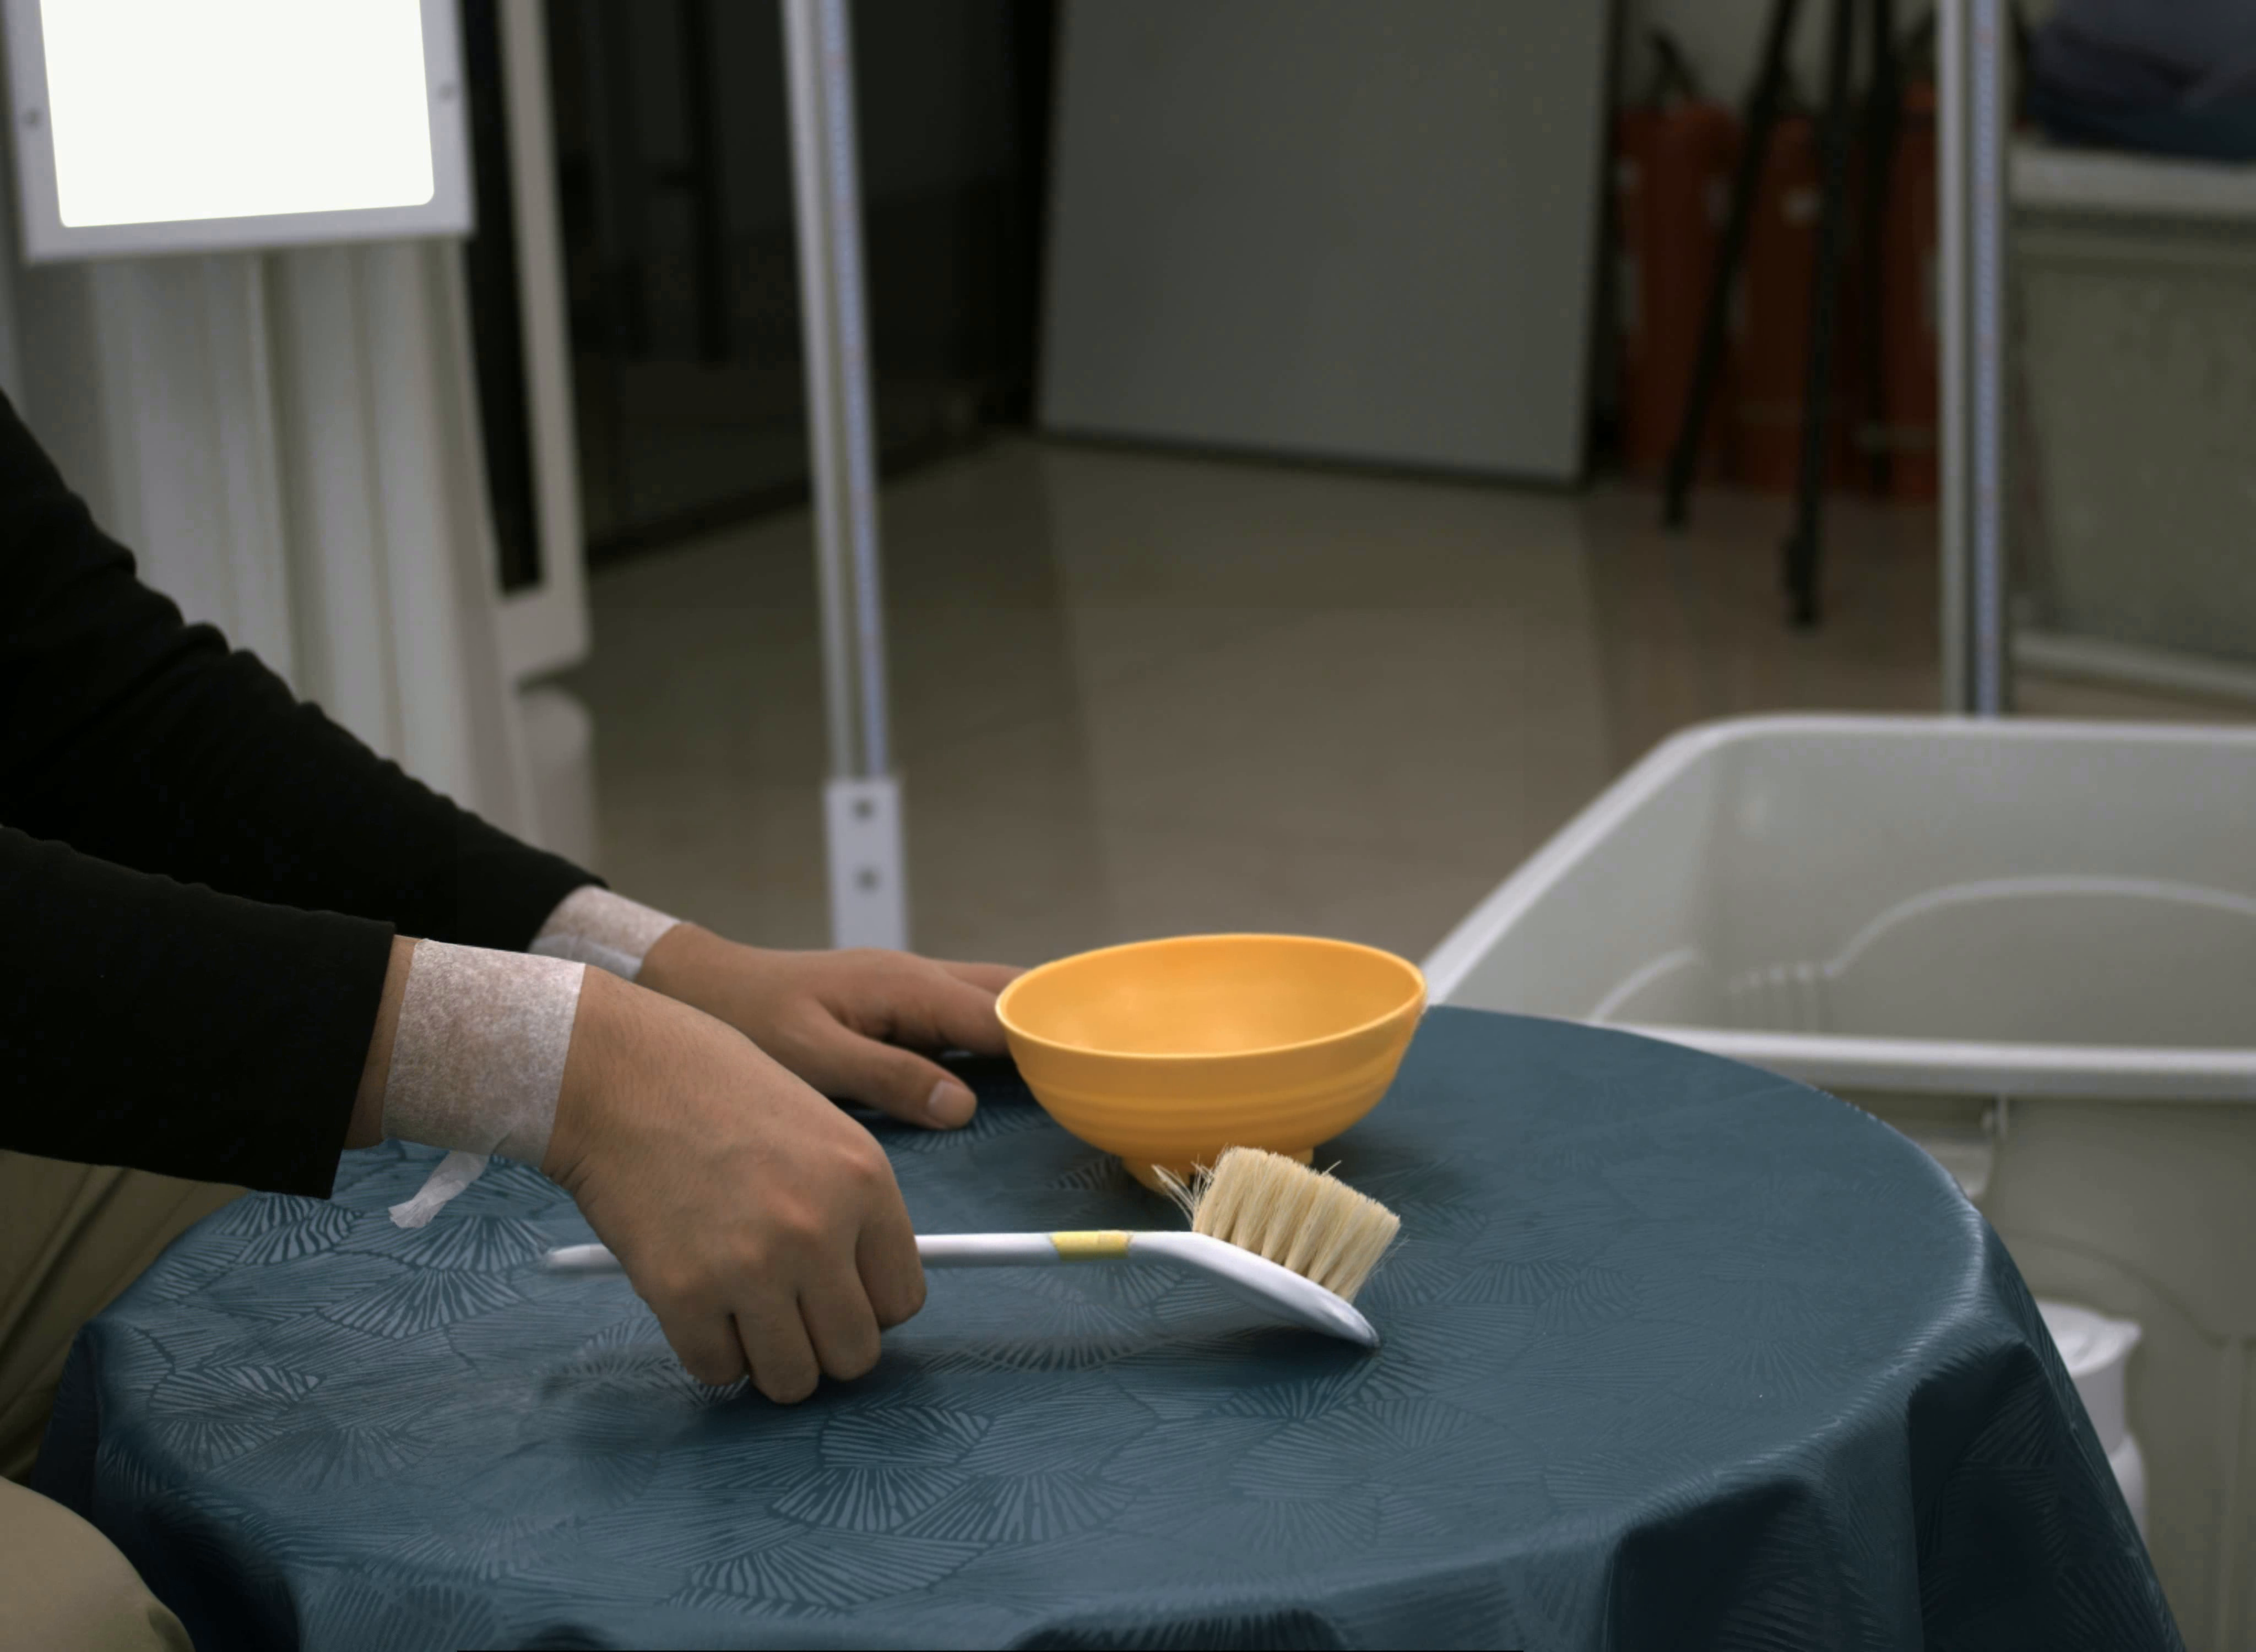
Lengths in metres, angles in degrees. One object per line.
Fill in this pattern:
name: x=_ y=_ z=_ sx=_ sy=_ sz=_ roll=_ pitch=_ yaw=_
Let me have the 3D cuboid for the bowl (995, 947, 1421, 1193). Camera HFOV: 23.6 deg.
bowl: x=0.028 y=0.084 z=1.790 sx=0.143 sy=0.061 sz=0.145 roll=-4 pitch=12 yaw=0

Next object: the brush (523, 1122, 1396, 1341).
brush: x=-0.051 y=0.119 z=1.620 sx=0.264 sy=0.057 sz=0.068 roll=1 pitch=-19 yaw=11
